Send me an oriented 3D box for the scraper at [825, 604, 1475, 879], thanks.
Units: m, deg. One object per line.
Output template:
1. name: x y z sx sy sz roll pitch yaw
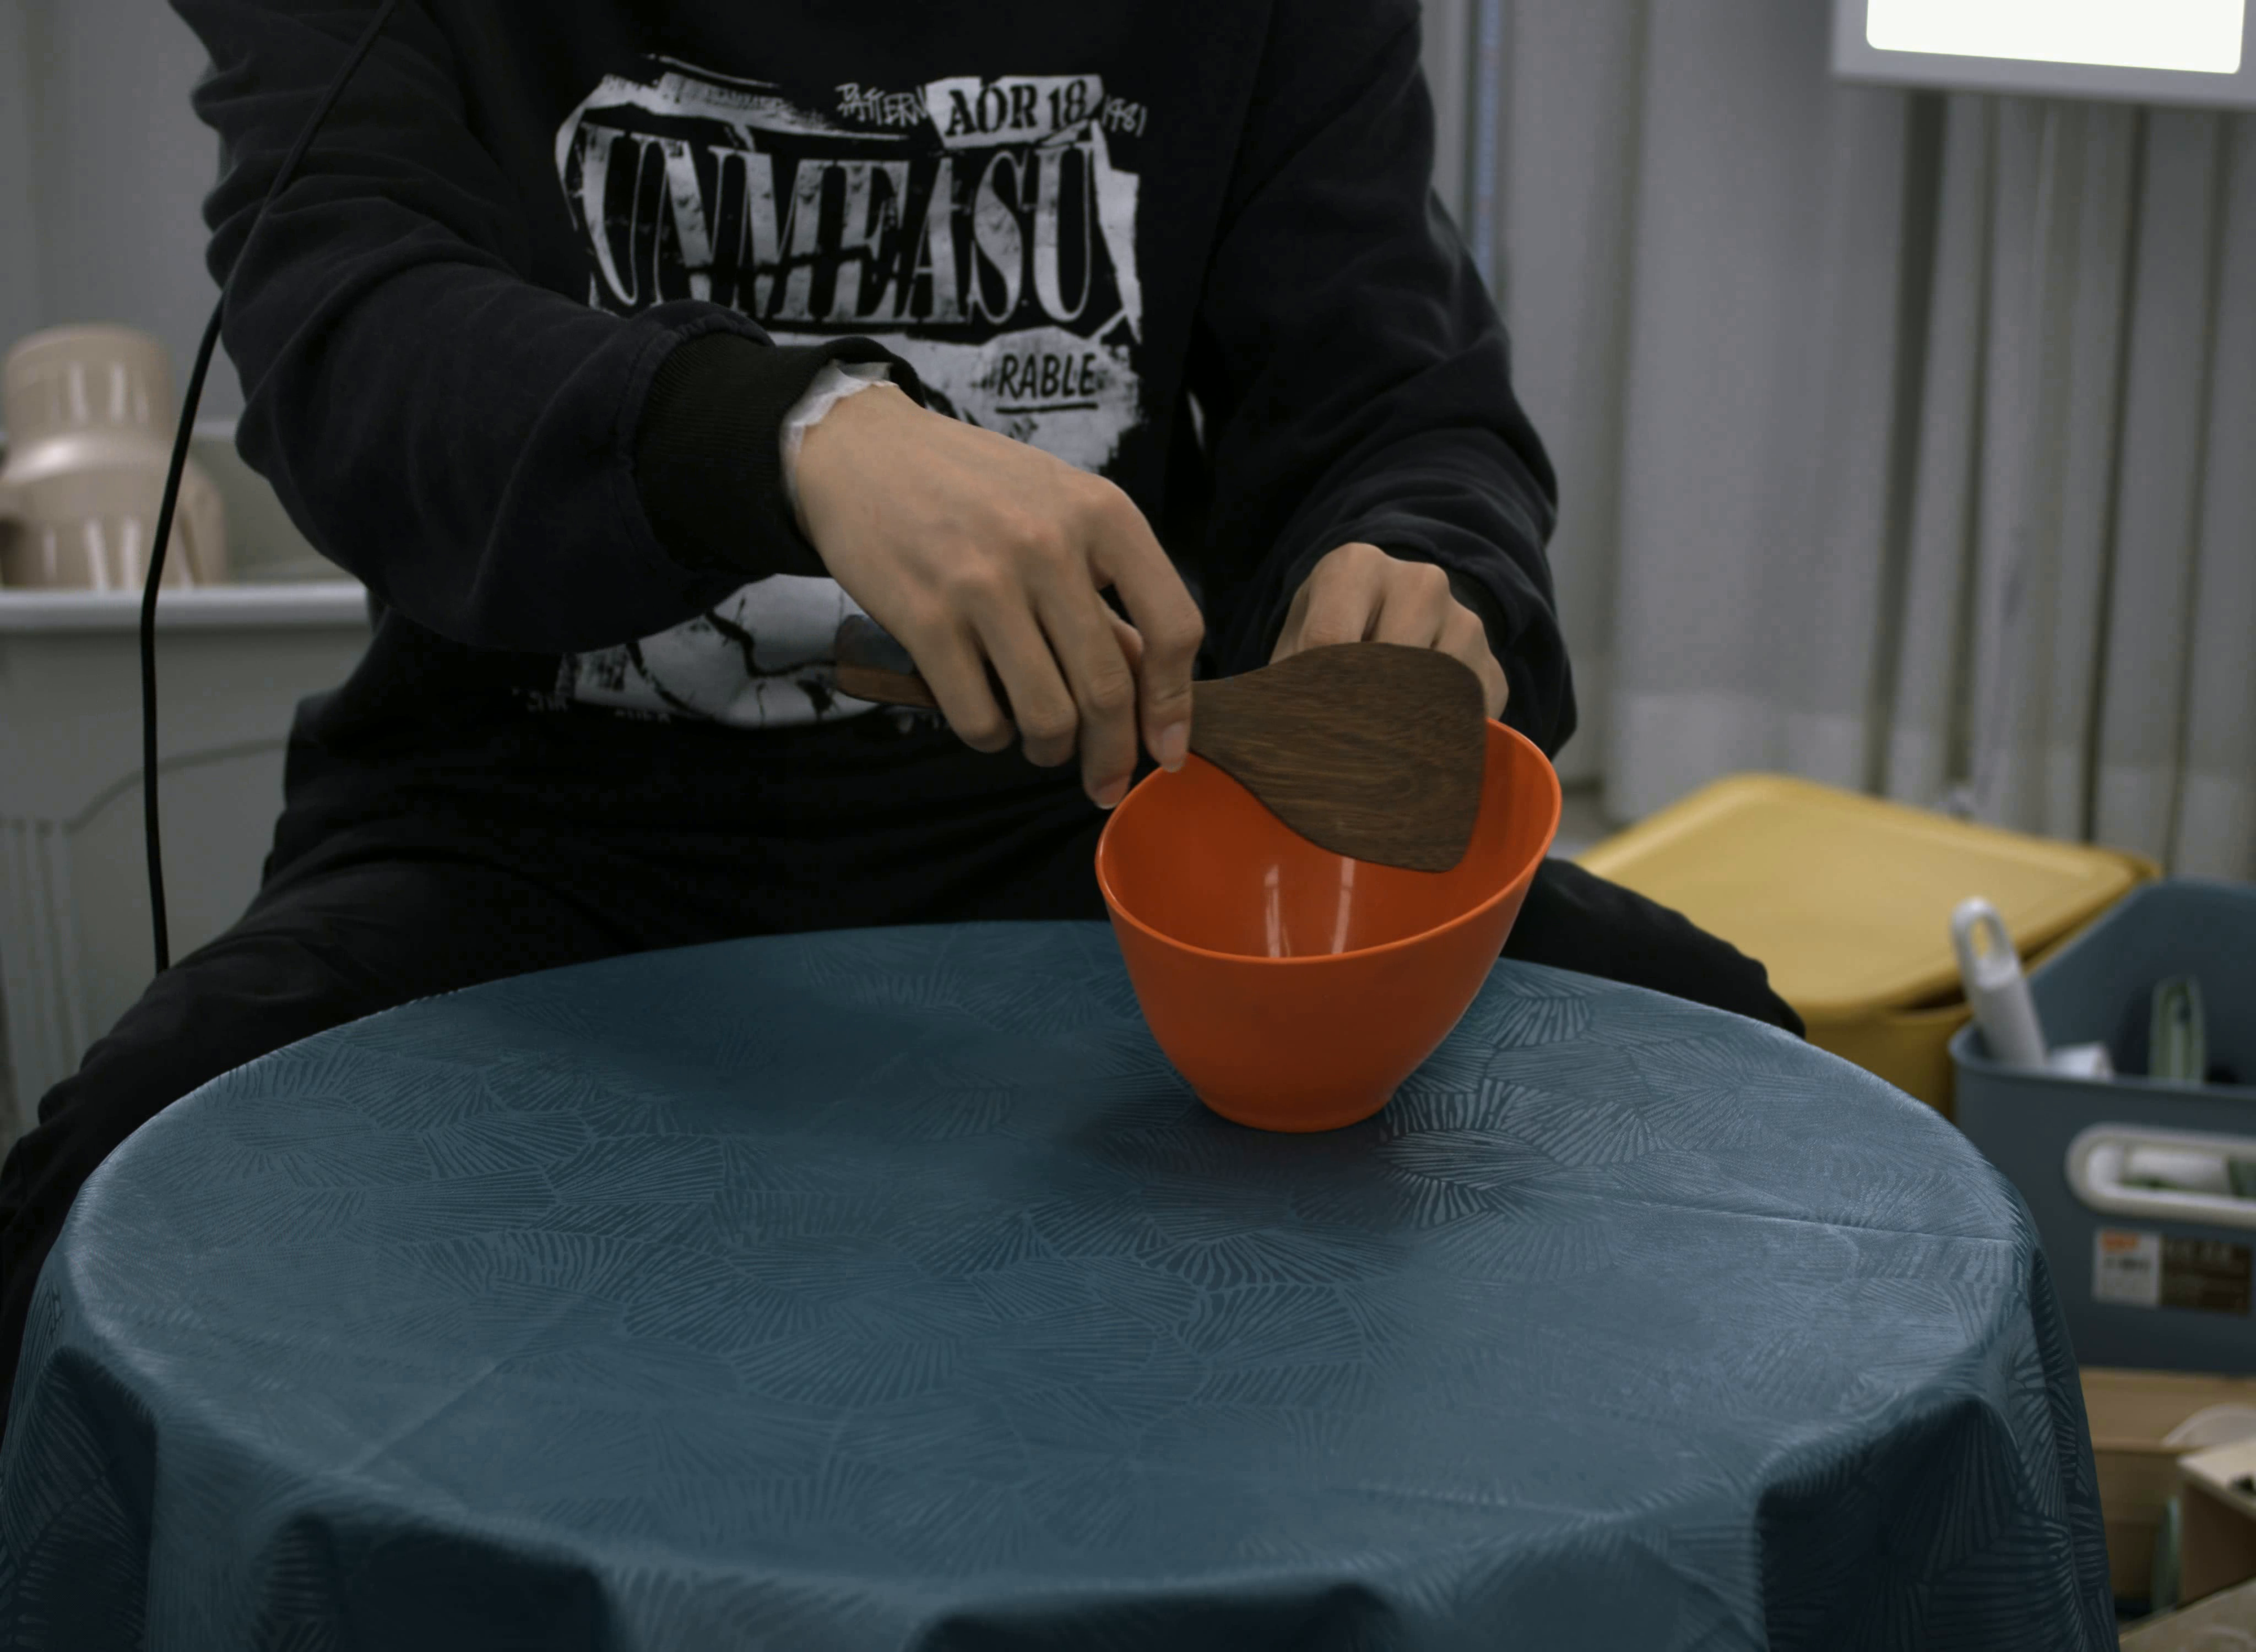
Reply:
1. scraper: 0.008 -0.037 1.656 0.212 0.076 0.011 11 -12 -13

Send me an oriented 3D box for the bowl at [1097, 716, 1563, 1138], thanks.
1. bowl: 0.064 0.037 1.685 0.147 0.106 0.147 1 30 0
